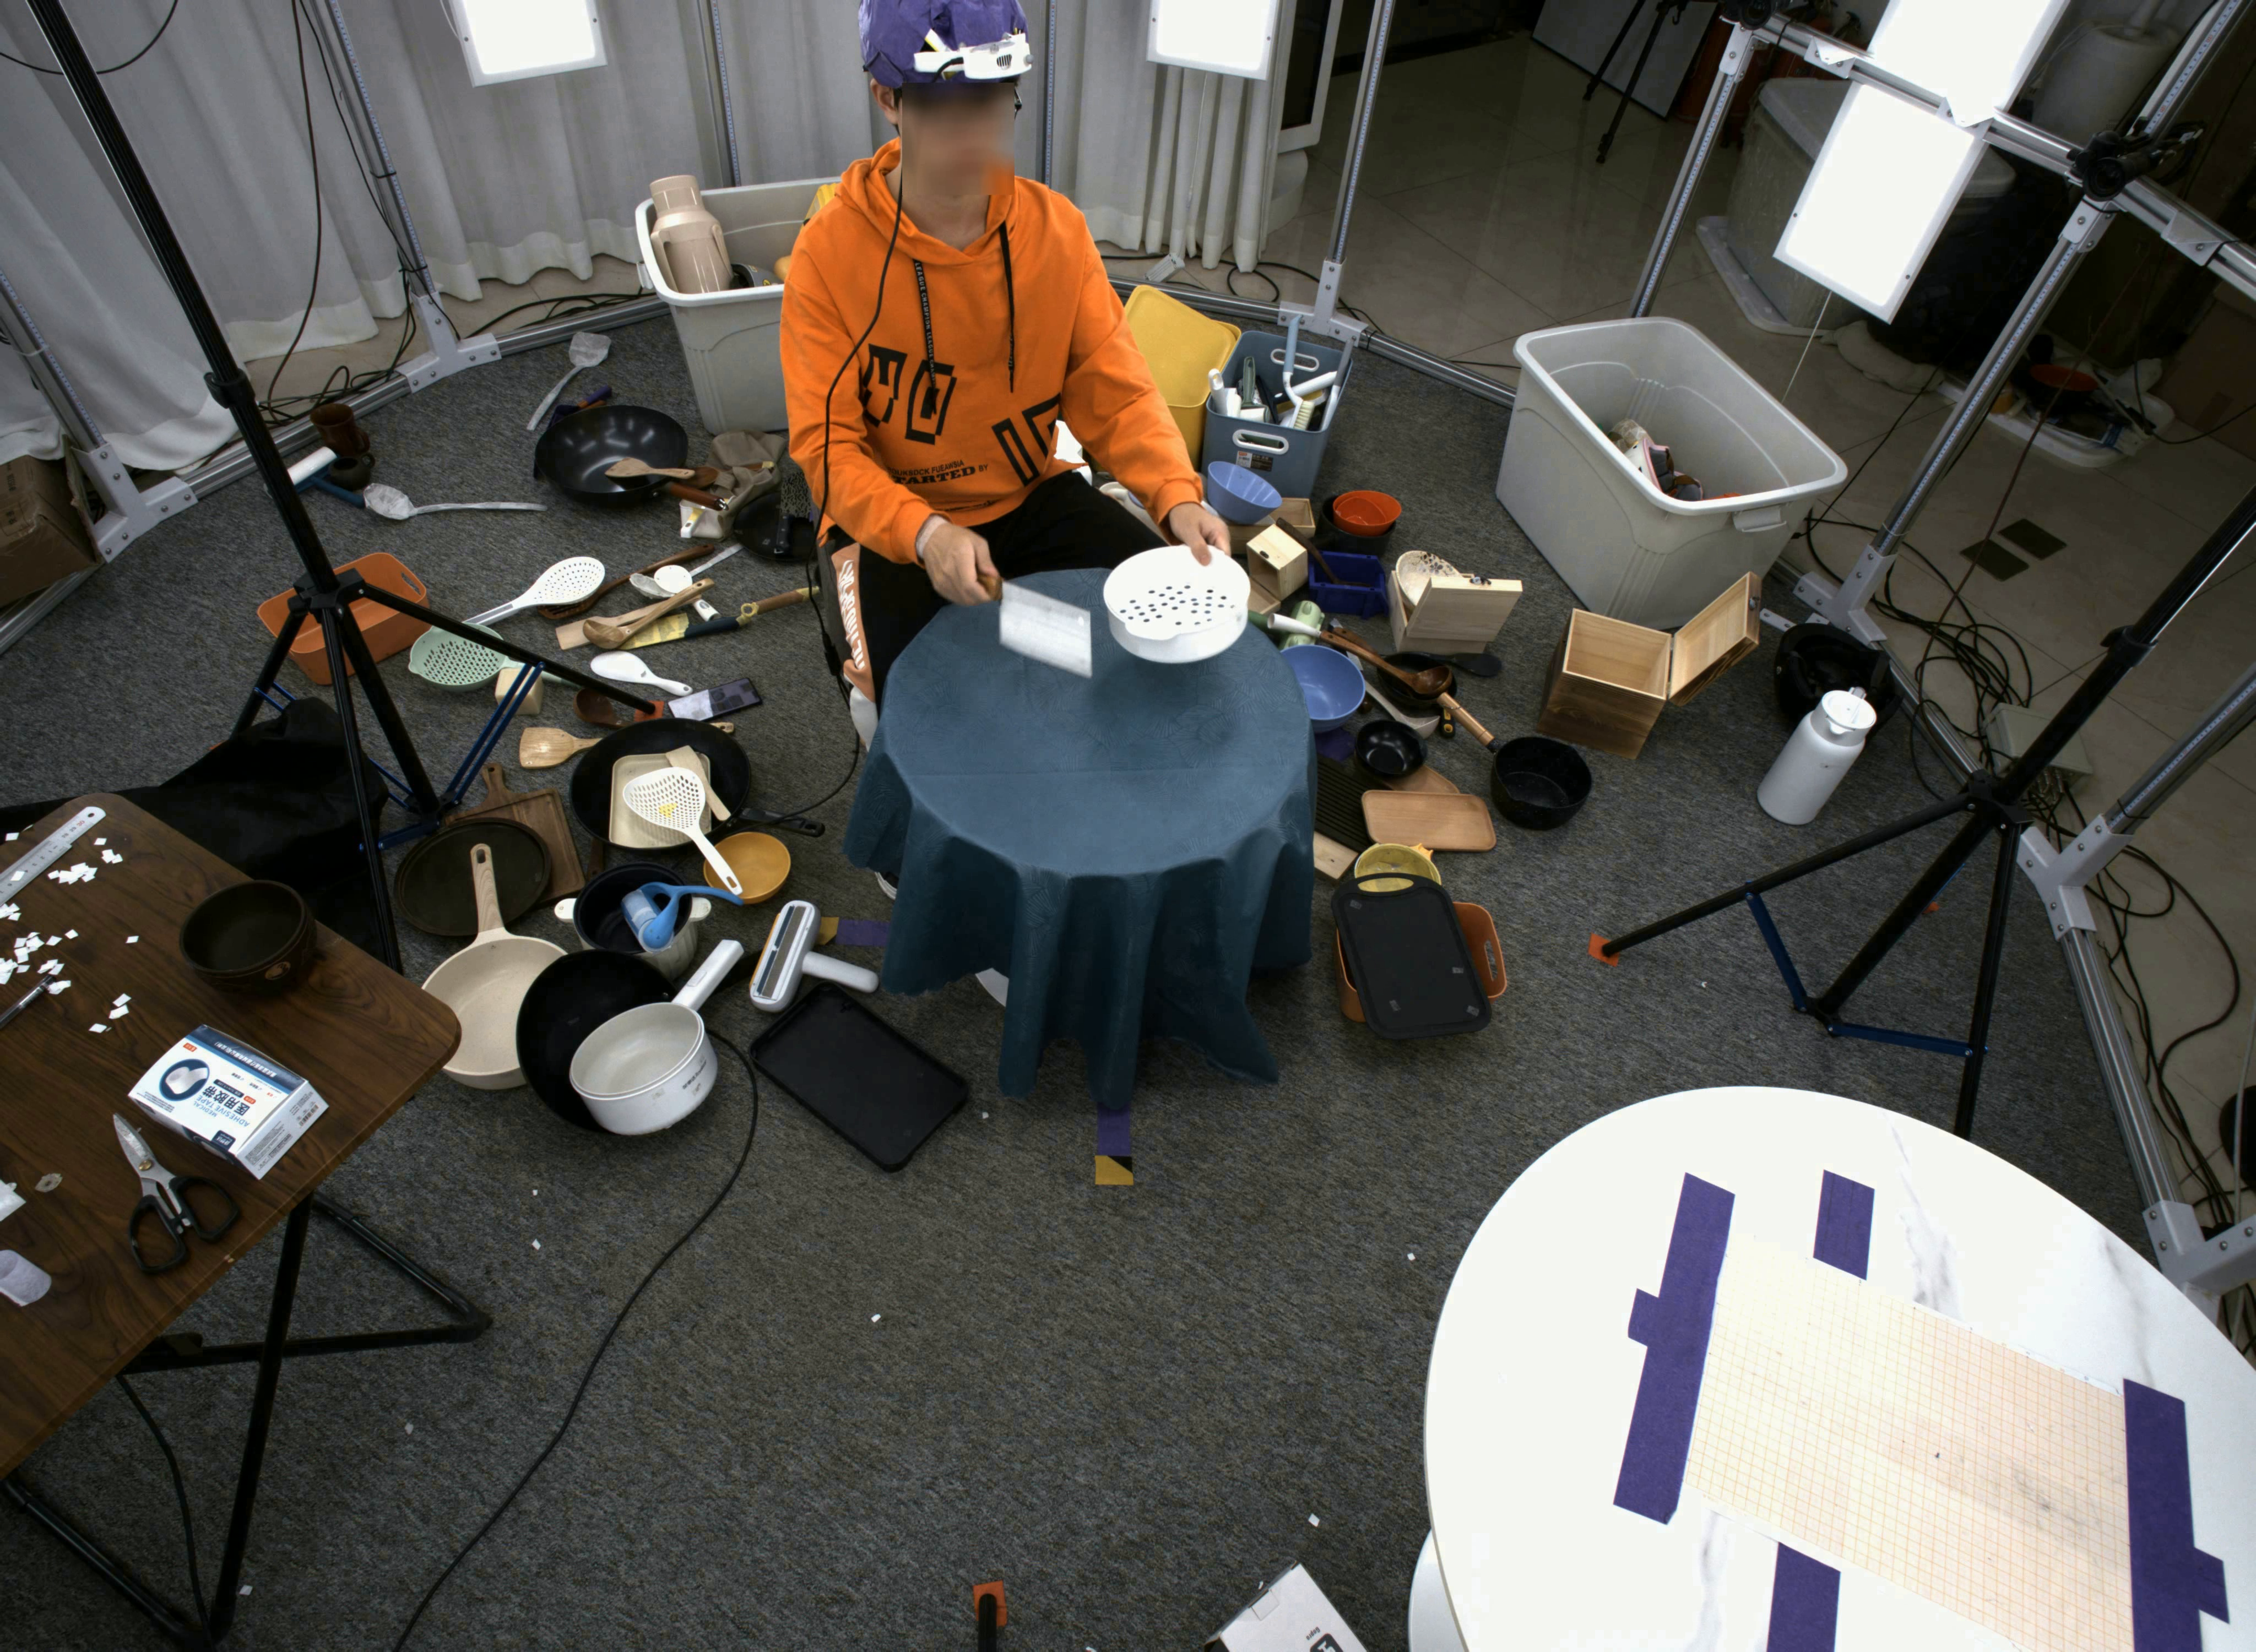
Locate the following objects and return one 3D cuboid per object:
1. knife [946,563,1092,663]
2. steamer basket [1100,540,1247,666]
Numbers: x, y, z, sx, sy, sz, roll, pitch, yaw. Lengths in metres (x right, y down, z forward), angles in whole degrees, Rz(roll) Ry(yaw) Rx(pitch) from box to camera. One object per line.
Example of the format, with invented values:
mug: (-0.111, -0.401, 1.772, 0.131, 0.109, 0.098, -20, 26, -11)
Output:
knife: (-0.146, -0.282, 1.704, 0.021, 0.091, 0.310, -24, 35, -33)
steamer basket: (0.064, -0.305, 1.778, 0.203, 0.067, 0.235, 12, 49, 19)
